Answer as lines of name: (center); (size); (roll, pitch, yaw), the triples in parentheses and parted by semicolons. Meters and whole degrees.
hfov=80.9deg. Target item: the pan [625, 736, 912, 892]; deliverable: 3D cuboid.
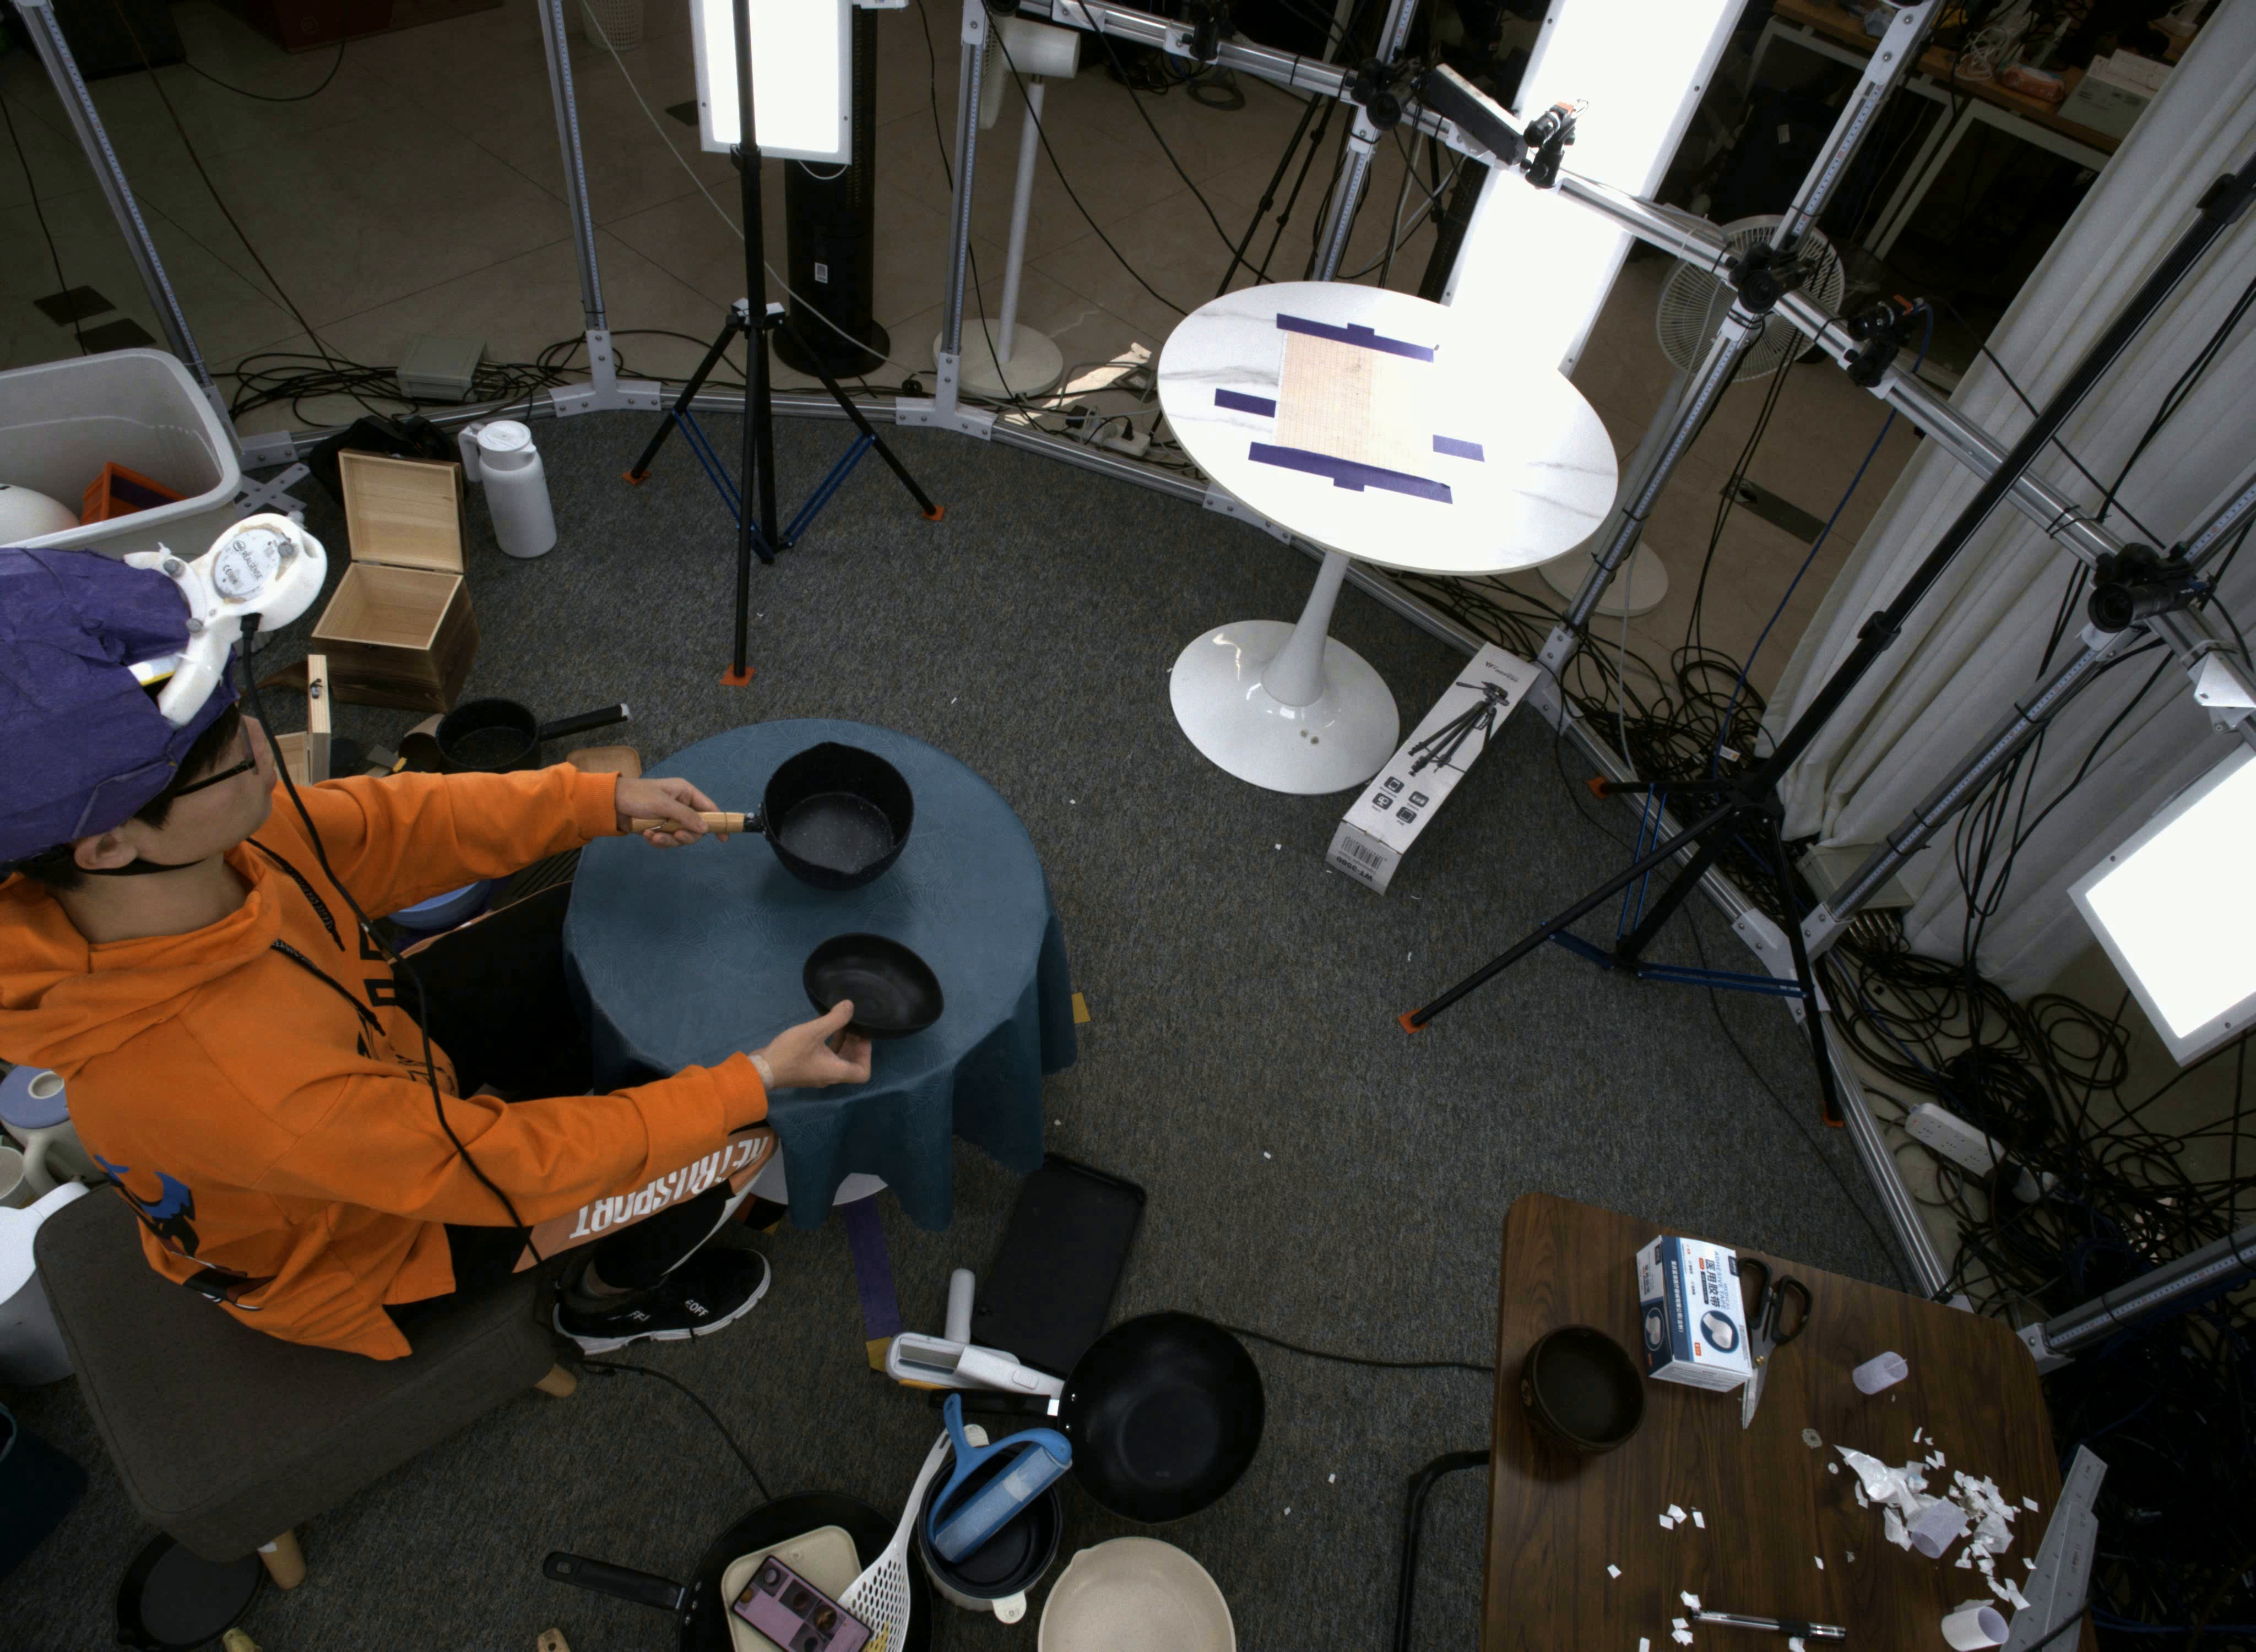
pan: (-0.437, -0.001, 1.586); (0.345, 0.109, 0.203); (-8, 60, -24)

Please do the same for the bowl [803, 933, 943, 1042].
bowl: (-0.300, 0.197, 1.510); (0.173, 0.067, 0.134); (19, 40, -21)
